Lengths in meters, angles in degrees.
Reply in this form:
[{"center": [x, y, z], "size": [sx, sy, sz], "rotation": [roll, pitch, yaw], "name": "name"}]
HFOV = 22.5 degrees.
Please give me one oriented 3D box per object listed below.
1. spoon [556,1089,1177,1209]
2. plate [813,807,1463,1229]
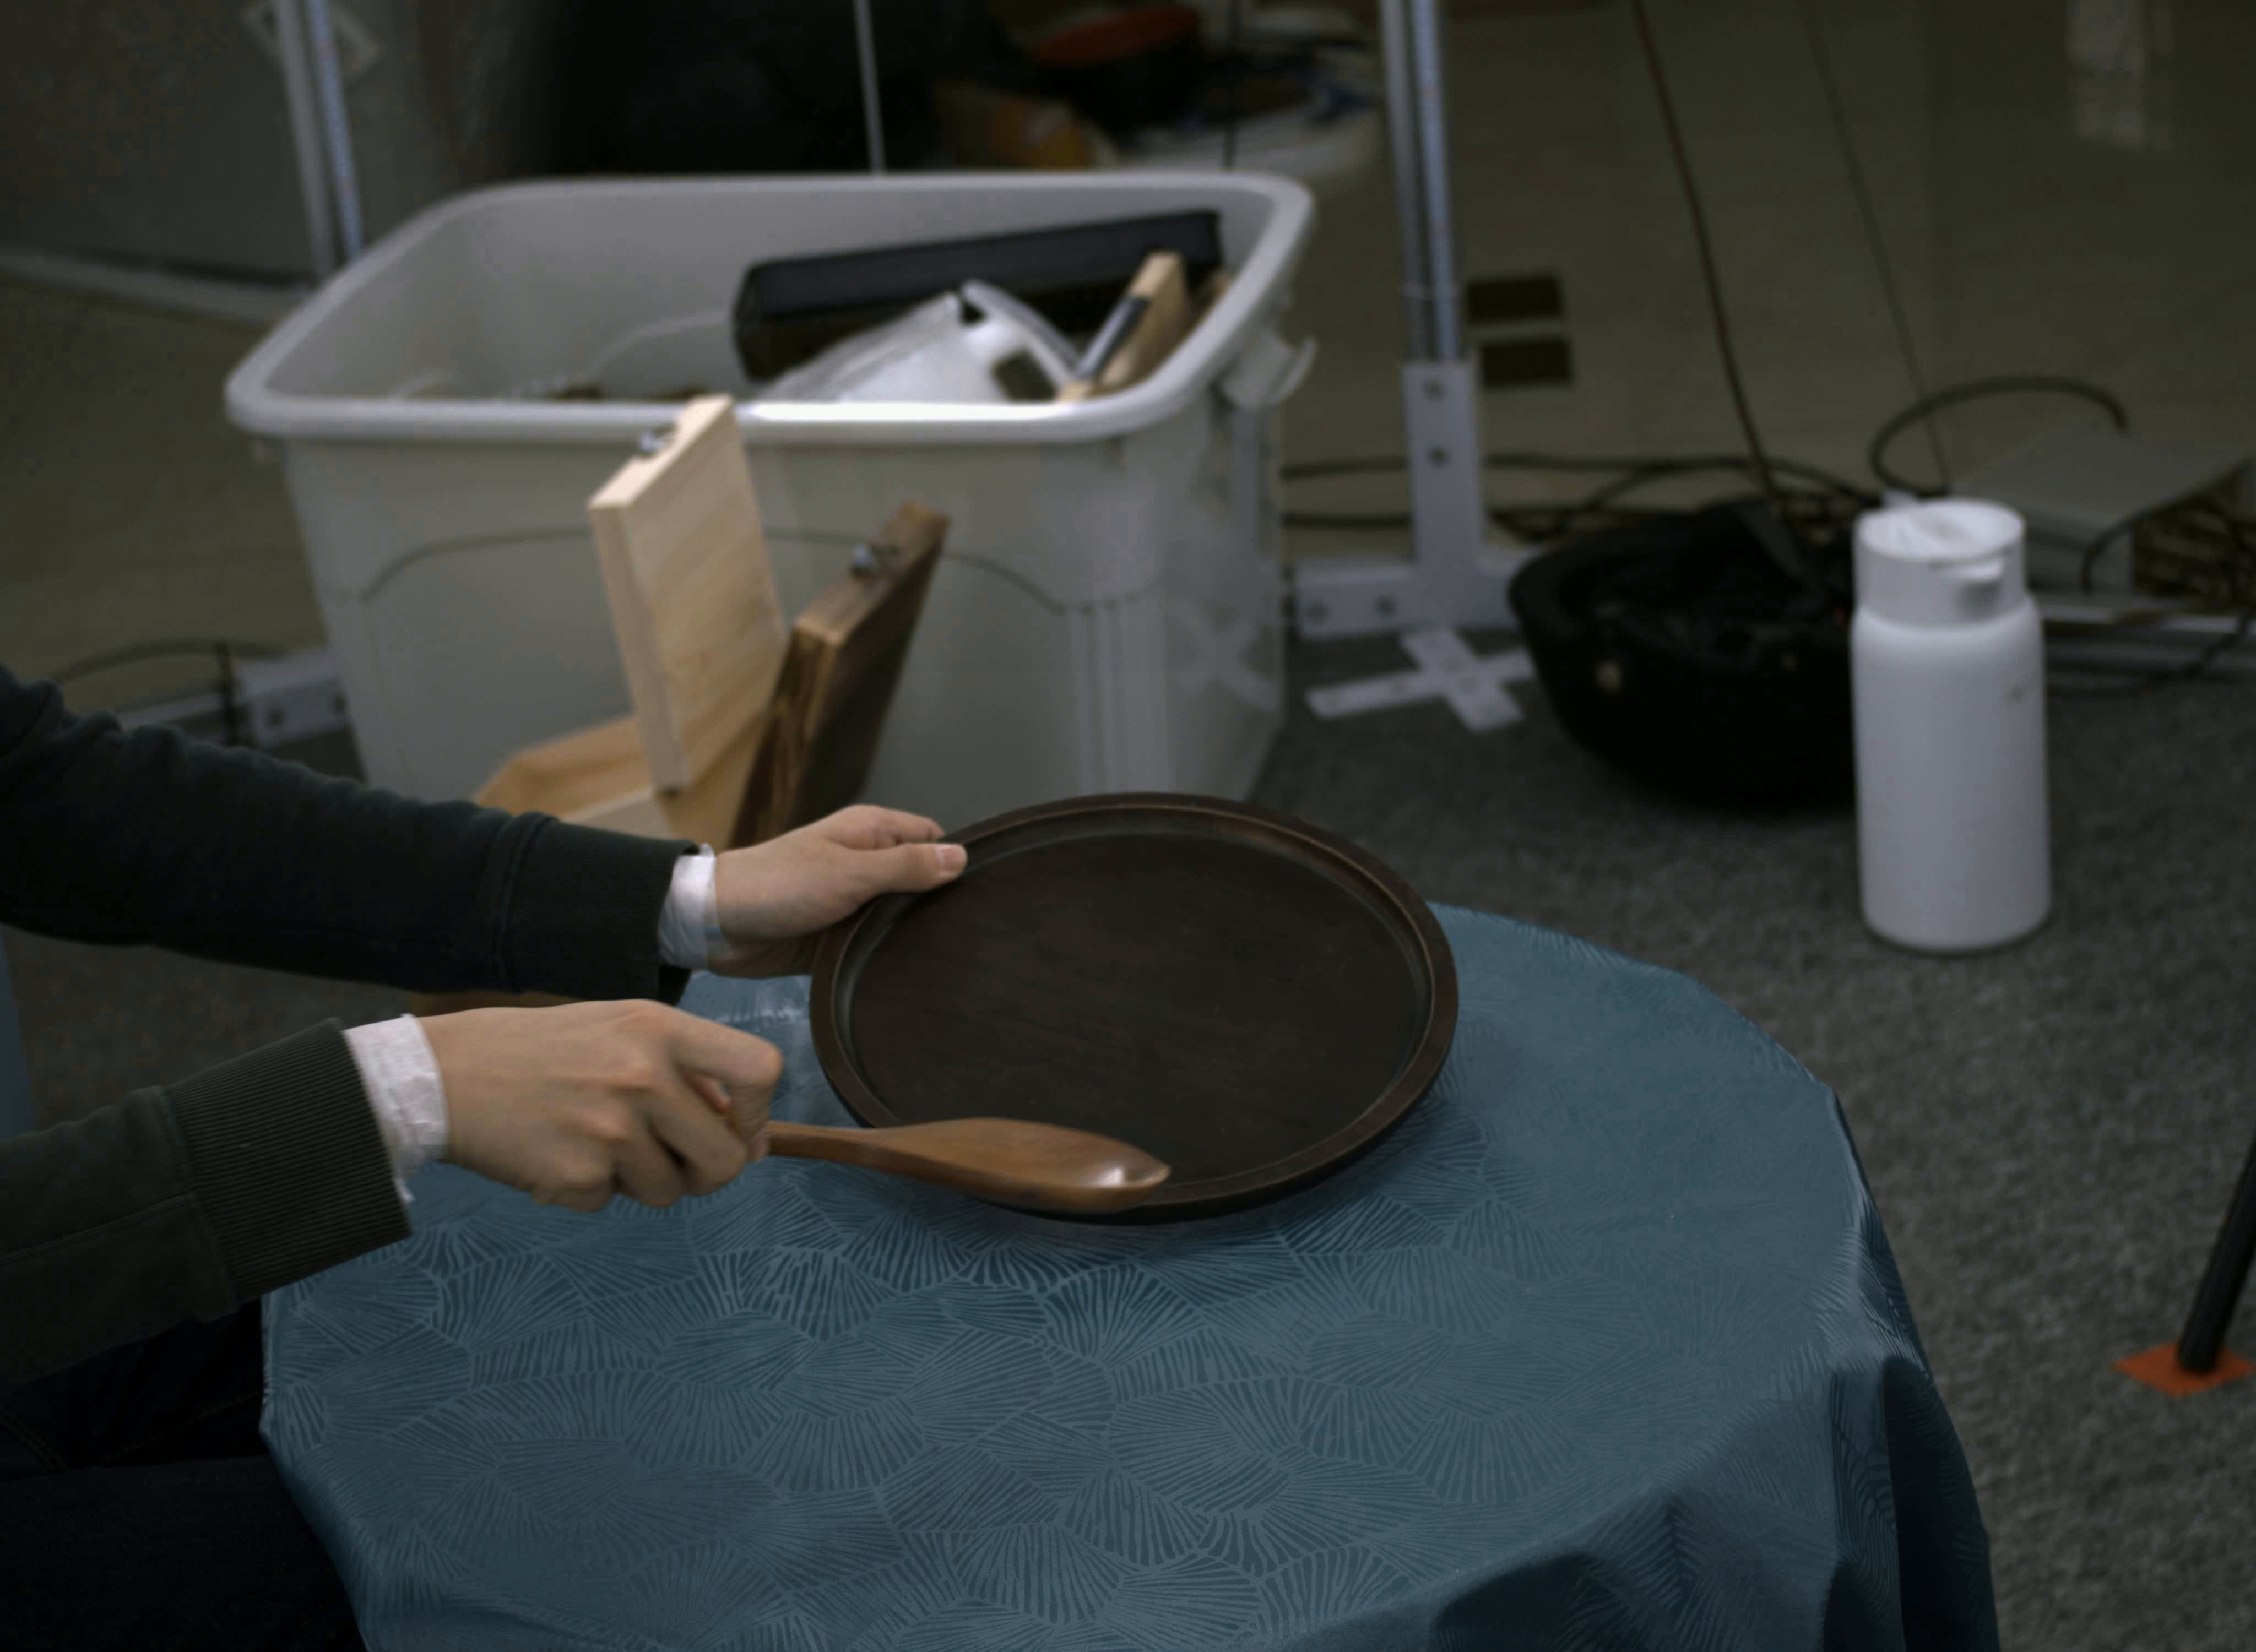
[{"center": [-0.087, 0.108, 1.914], "size": [0.216, 0.017, 0.074], "rotation": [8, 14, -18], "name": "spoon"}, {"center": [0.004, 0.073, 2.200], "size": [0.254, 0.029, 0.250], "rotation": [0, 37, 0], "name": "plate"}]
